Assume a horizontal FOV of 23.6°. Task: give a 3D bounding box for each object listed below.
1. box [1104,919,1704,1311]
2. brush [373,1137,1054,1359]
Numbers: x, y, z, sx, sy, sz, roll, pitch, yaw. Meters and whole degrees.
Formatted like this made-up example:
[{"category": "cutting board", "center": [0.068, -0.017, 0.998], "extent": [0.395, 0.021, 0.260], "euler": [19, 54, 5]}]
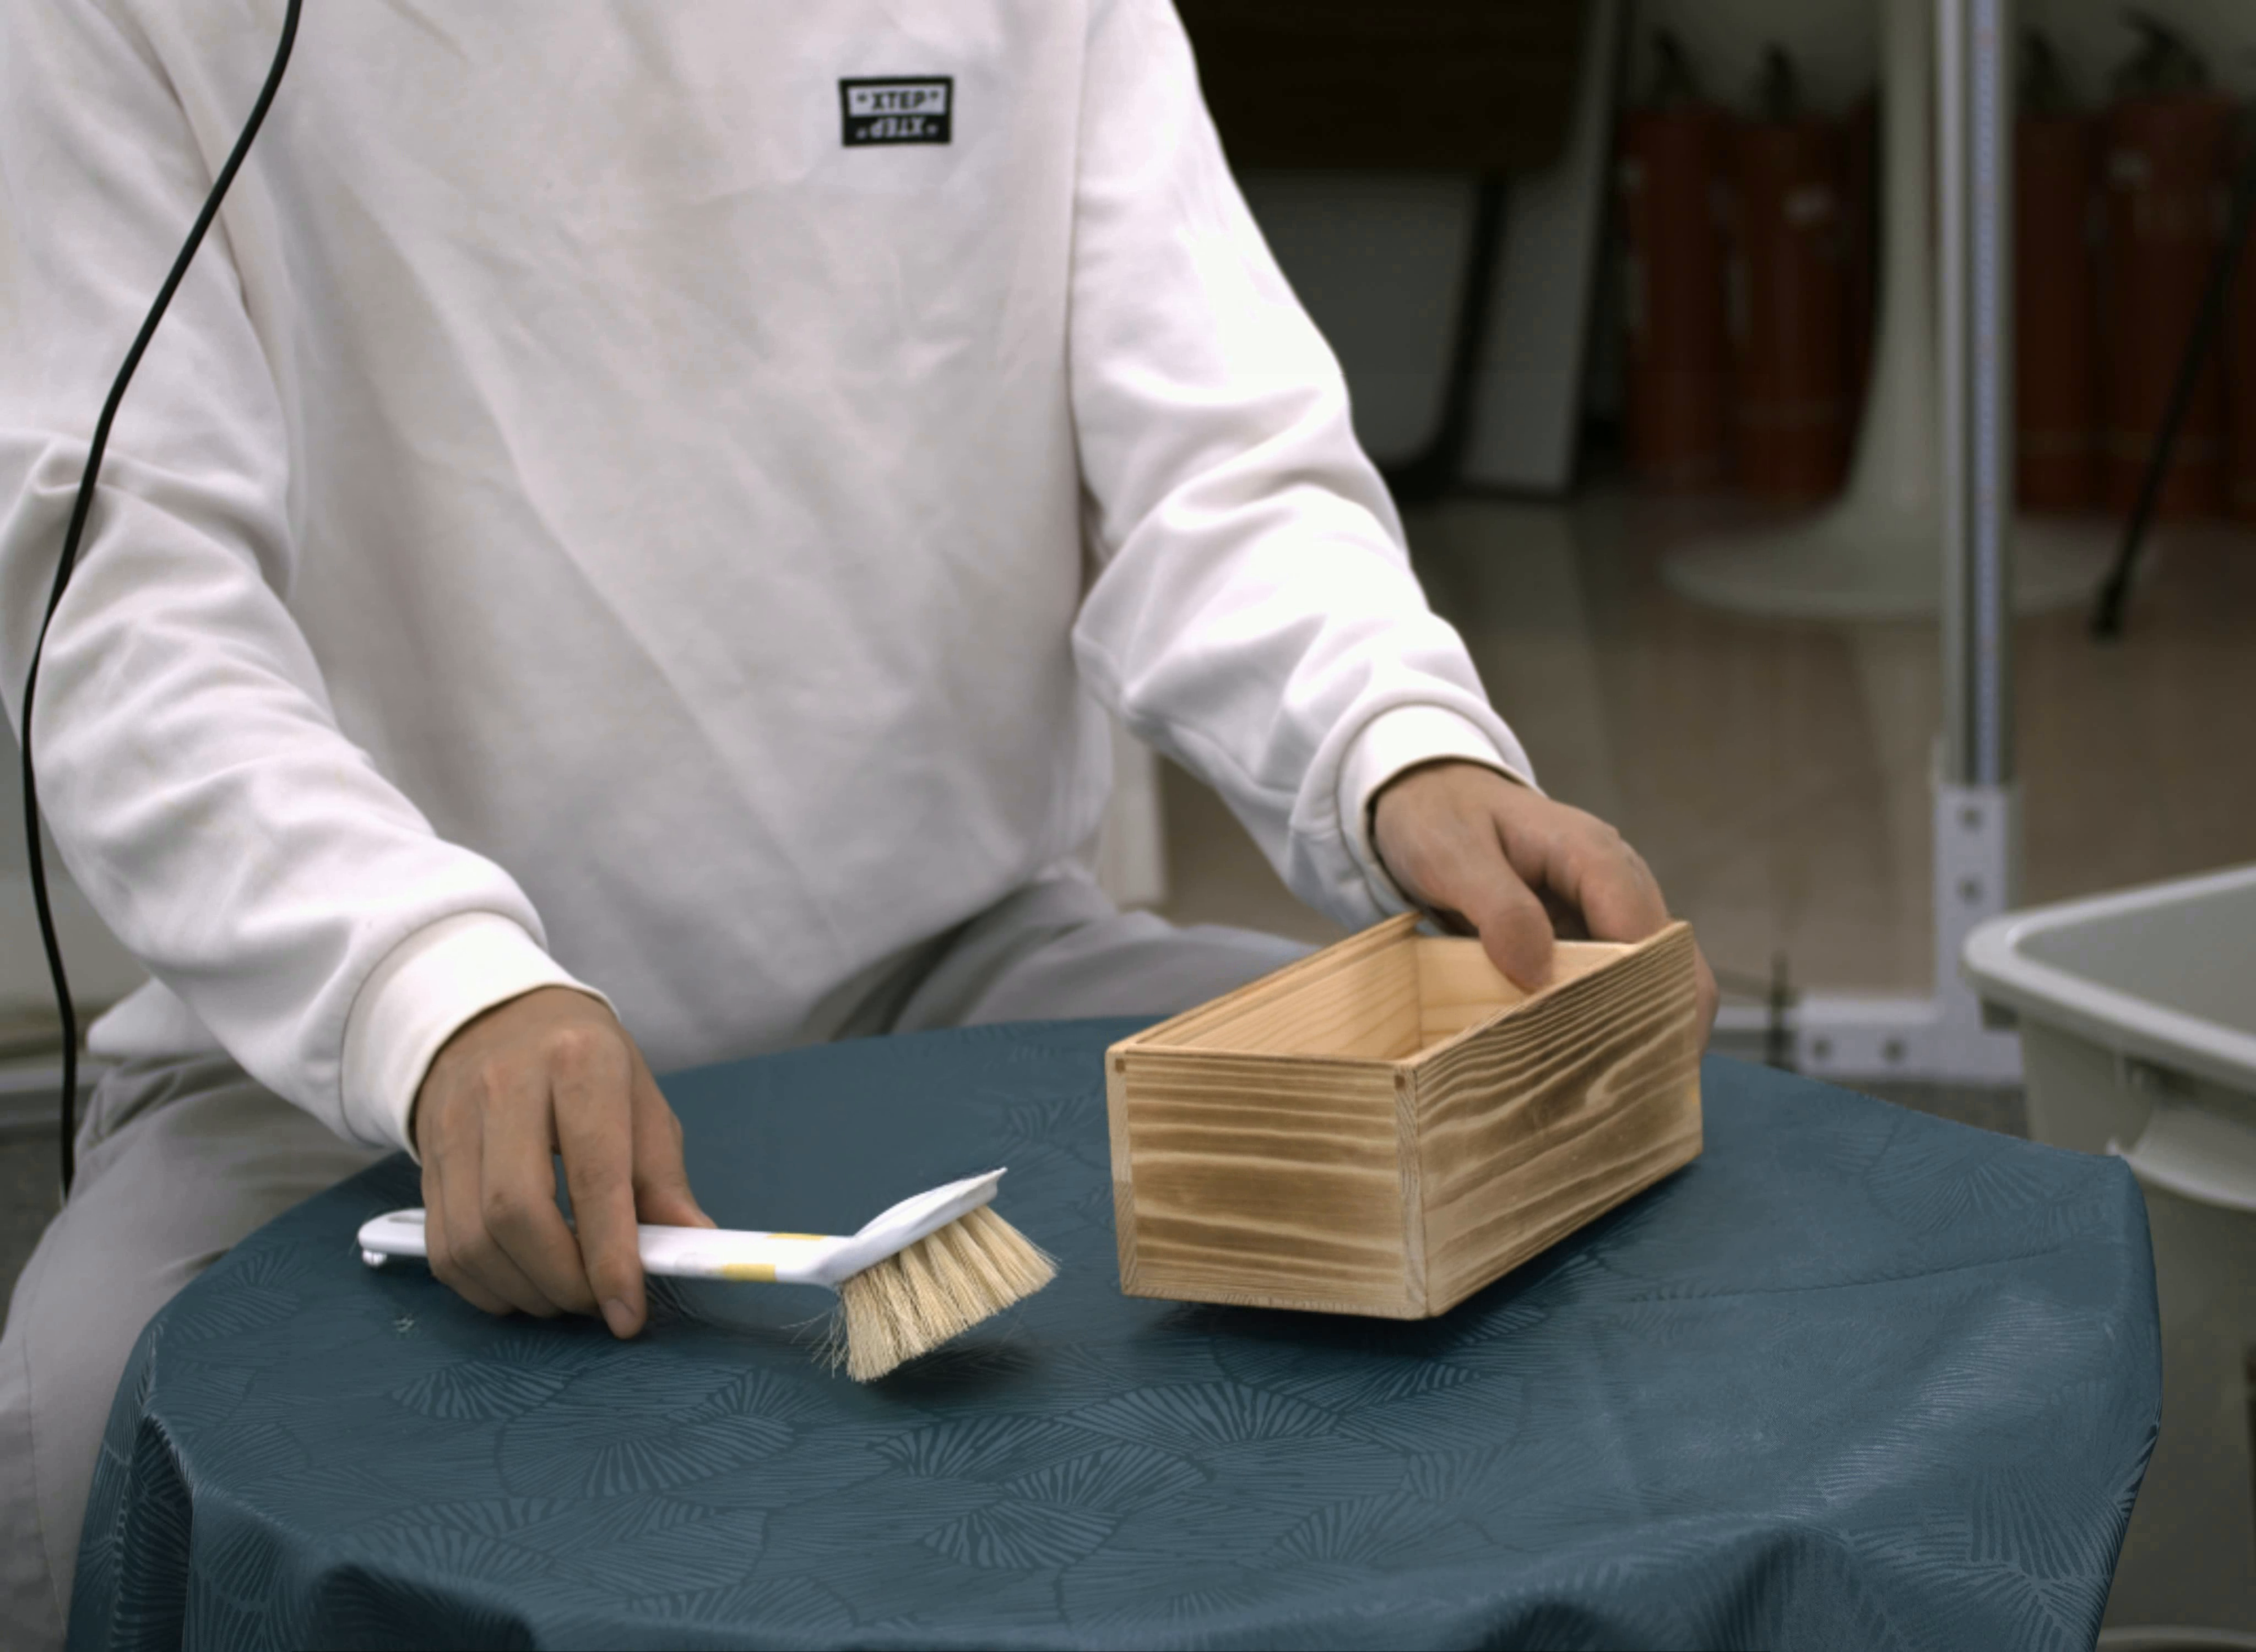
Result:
[{"category": "box", "center": [0.091, 0.087, 1.691], "extent": [0.108, 0.081, 0.208], "euler": [0, 9, 29]}, {"category": "brush", "center": [-0.132, 0.144, 1.674], "extent": [0.268, 0.057, 0.067], "euler": [-14, -2, 38]}]
